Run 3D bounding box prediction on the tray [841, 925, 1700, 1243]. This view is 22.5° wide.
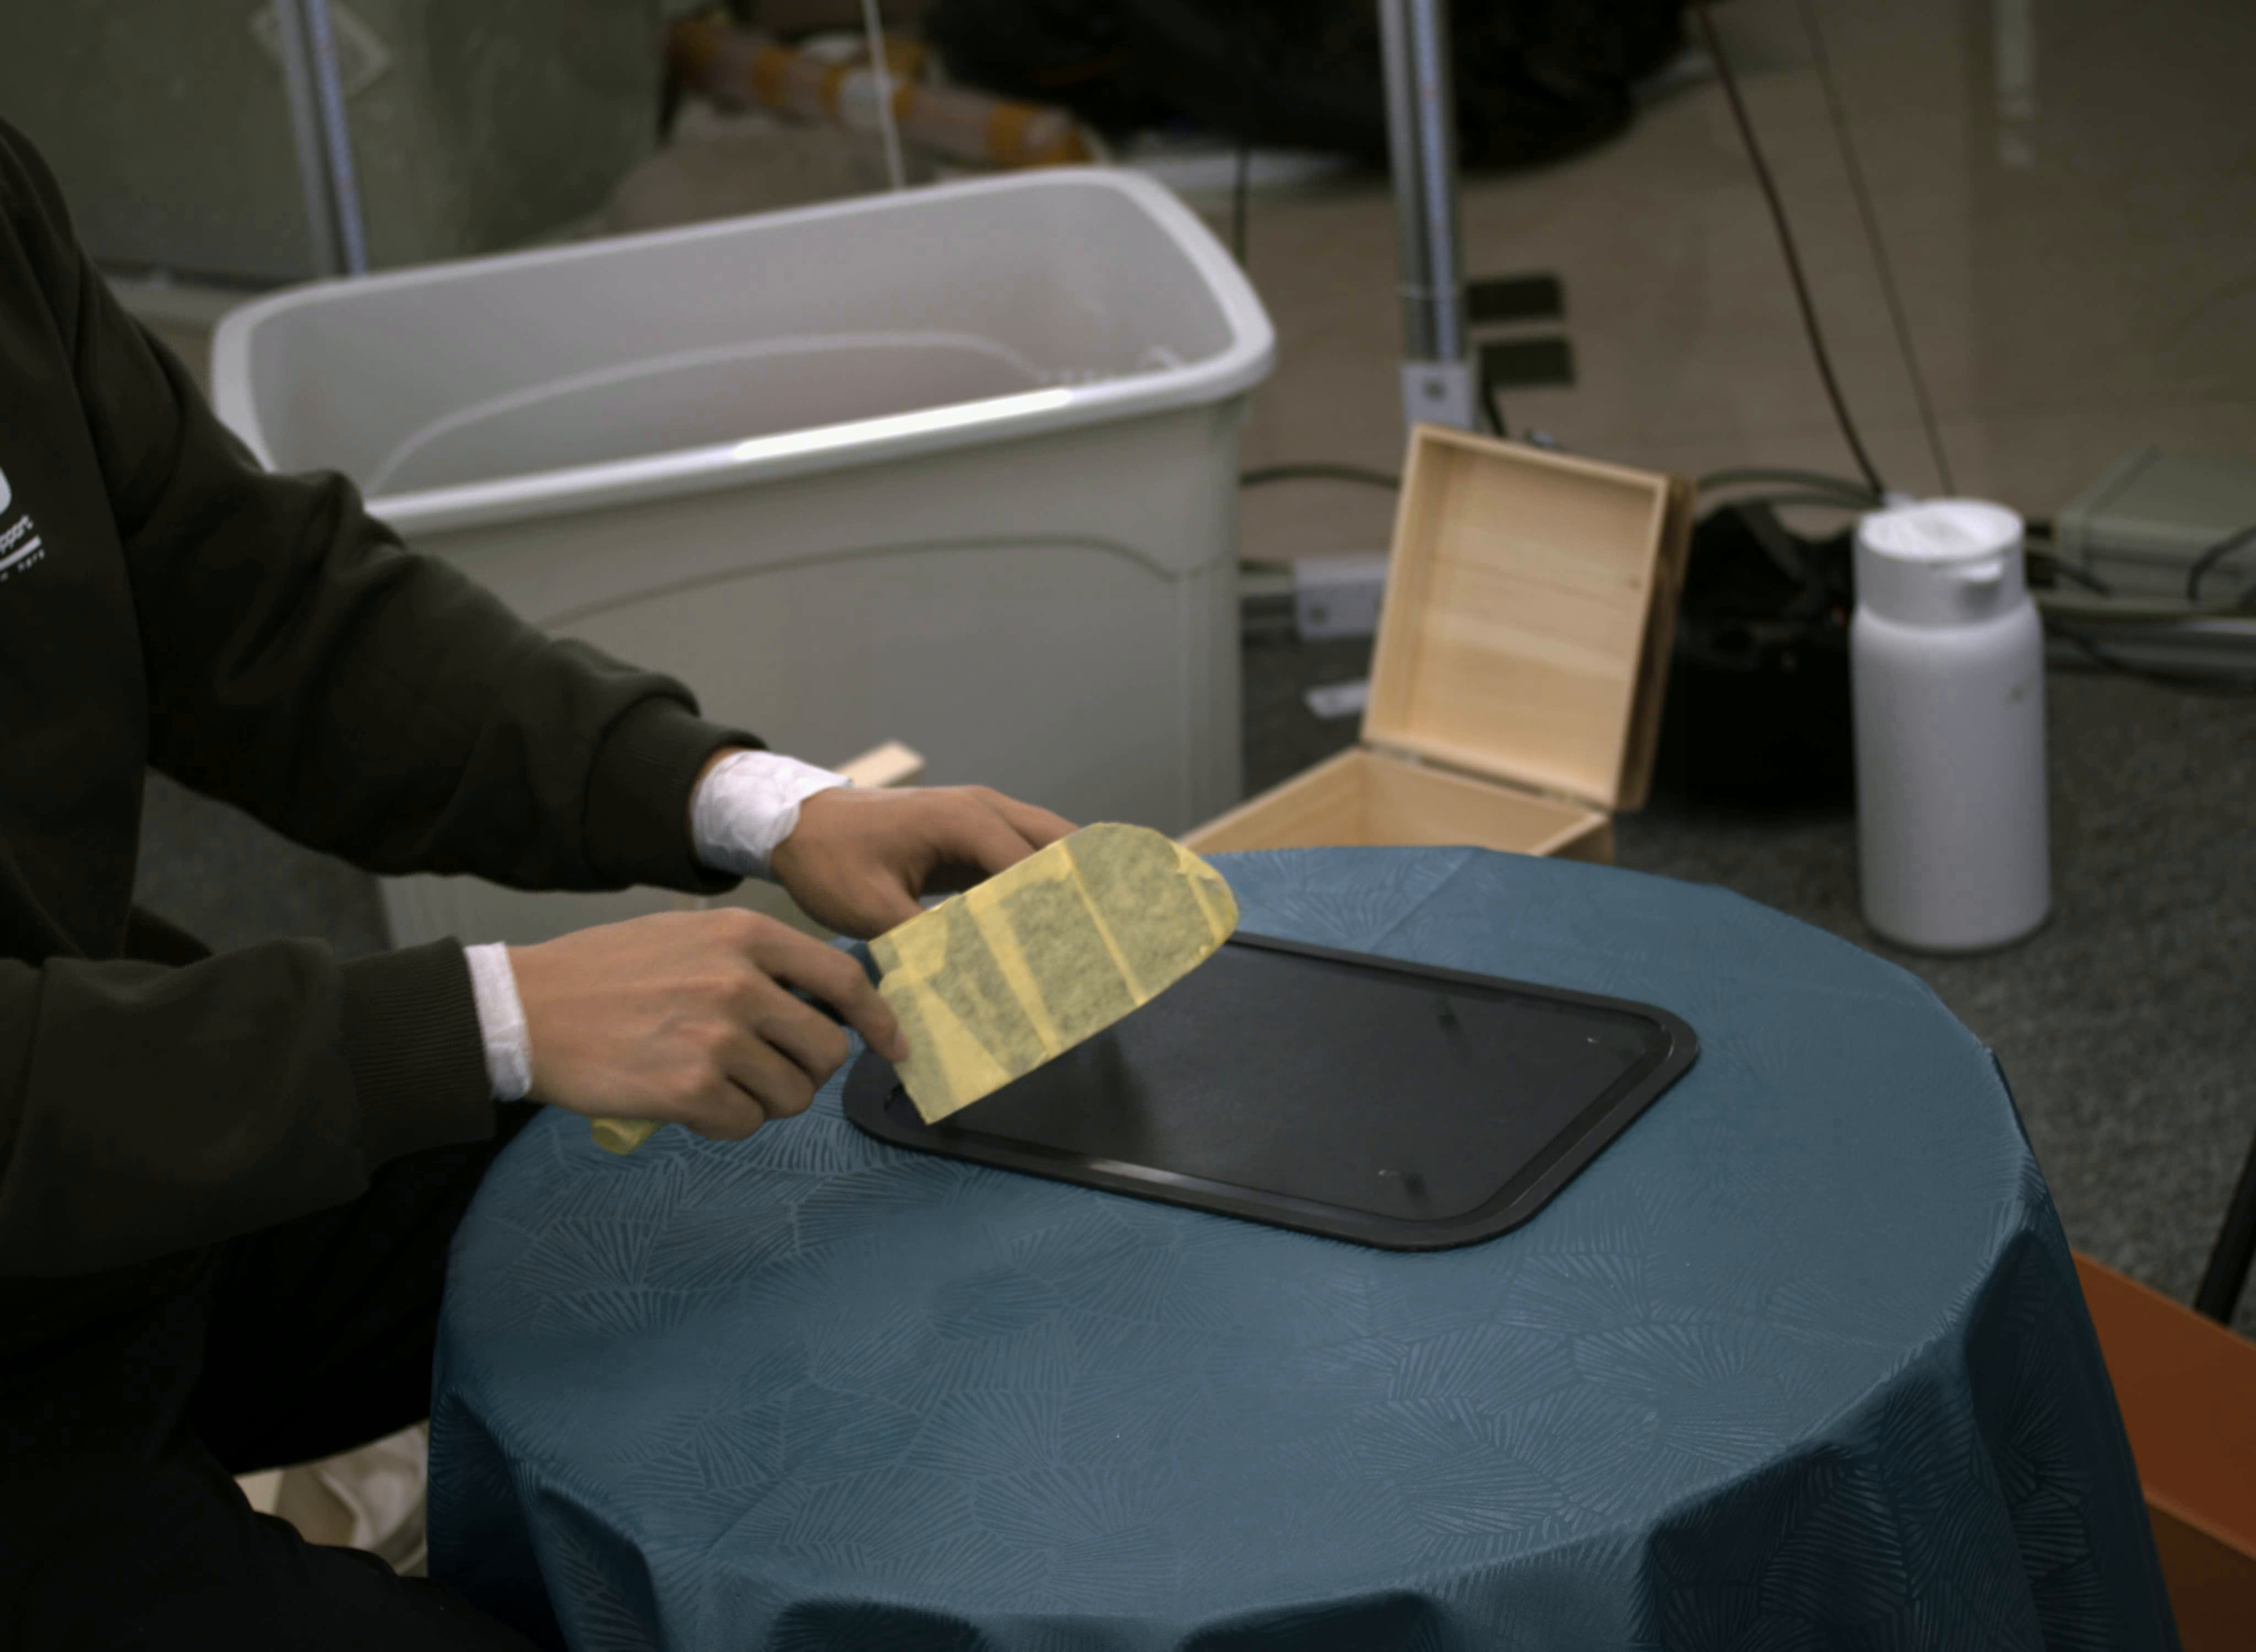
[{"bbox_3d":[0.047,0.094,2.227,0.324,0.010,0.209,10,29,31],"label":"tray"}]

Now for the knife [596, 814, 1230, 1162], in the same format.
[{"bbox_3d":[-0.075,0.070,2.162,0.287,0.081,0.027,-25,-1,-28],"label":"knife"}]
